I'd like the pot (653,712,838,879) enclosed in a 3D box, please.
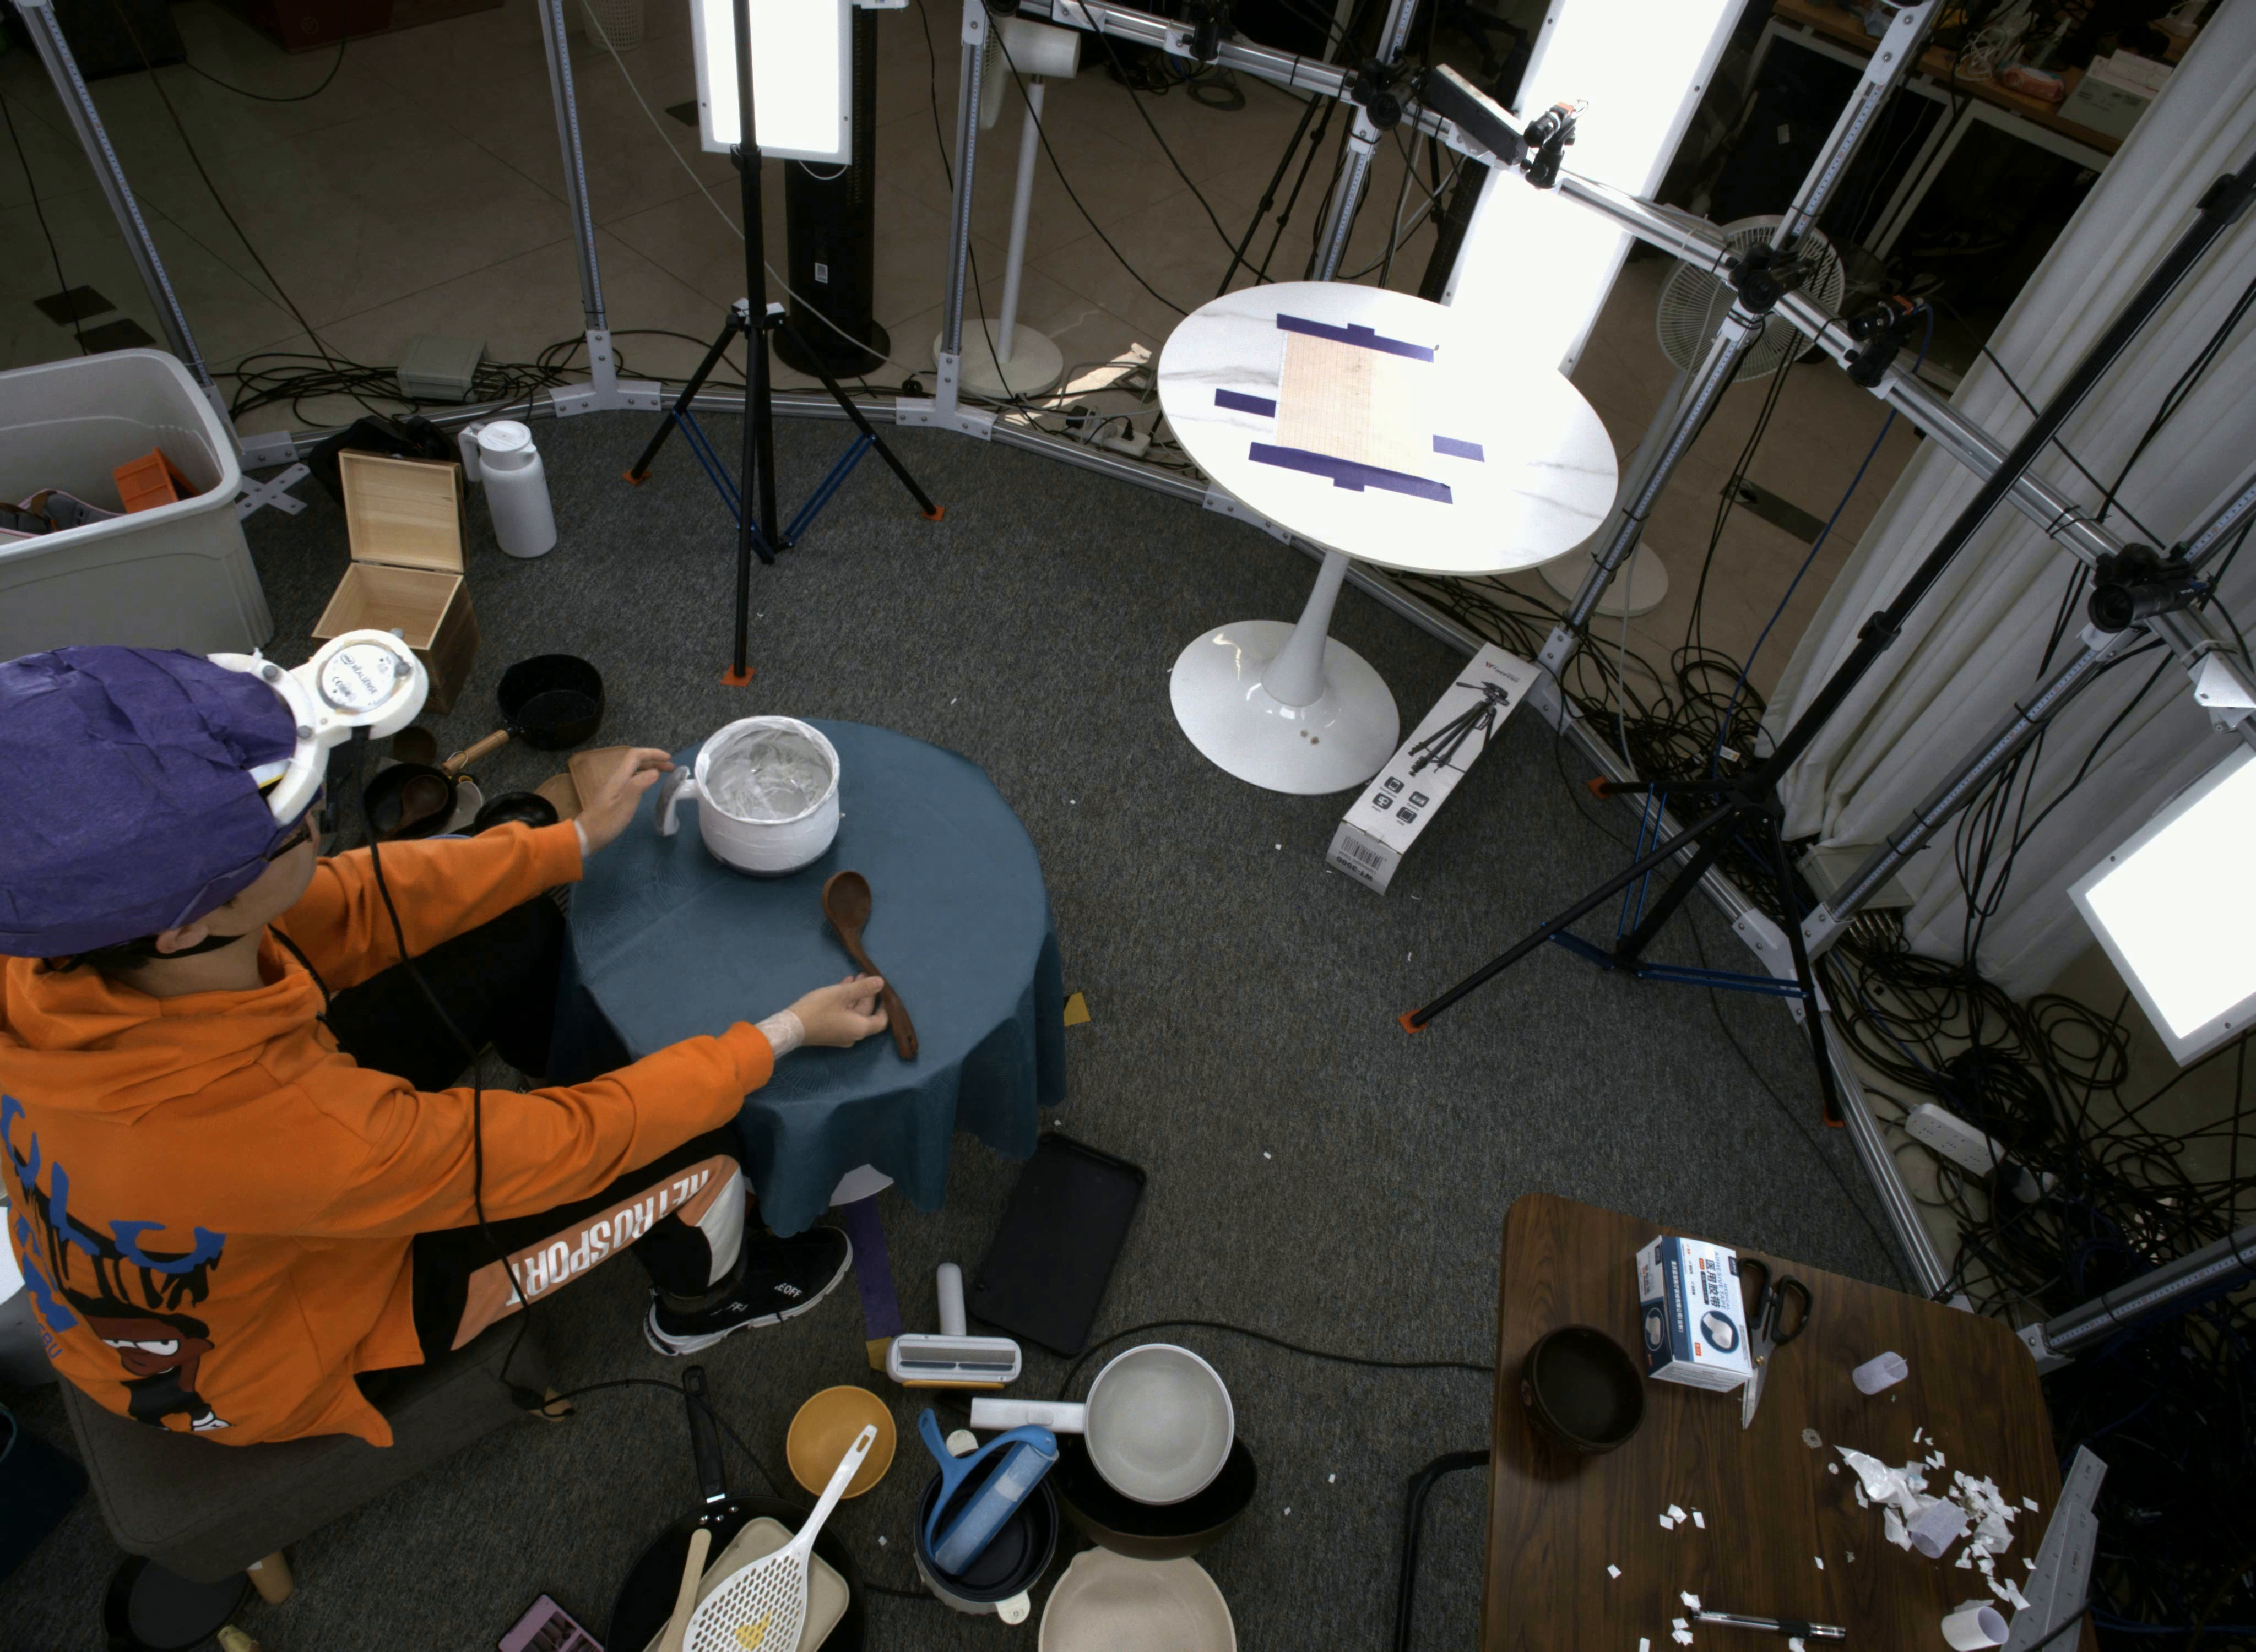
[{"bbox_3d":[-0.484,-0.033,1.633,0.234,0.139,0.174,-4,54,-18],"label":"pot"}]

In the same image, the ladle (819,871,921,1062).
[{"bbox_3d":[-0.305,0.164,1.584,0.078,0.065,0.253,0,48,-50],"label":"ladle"}]
